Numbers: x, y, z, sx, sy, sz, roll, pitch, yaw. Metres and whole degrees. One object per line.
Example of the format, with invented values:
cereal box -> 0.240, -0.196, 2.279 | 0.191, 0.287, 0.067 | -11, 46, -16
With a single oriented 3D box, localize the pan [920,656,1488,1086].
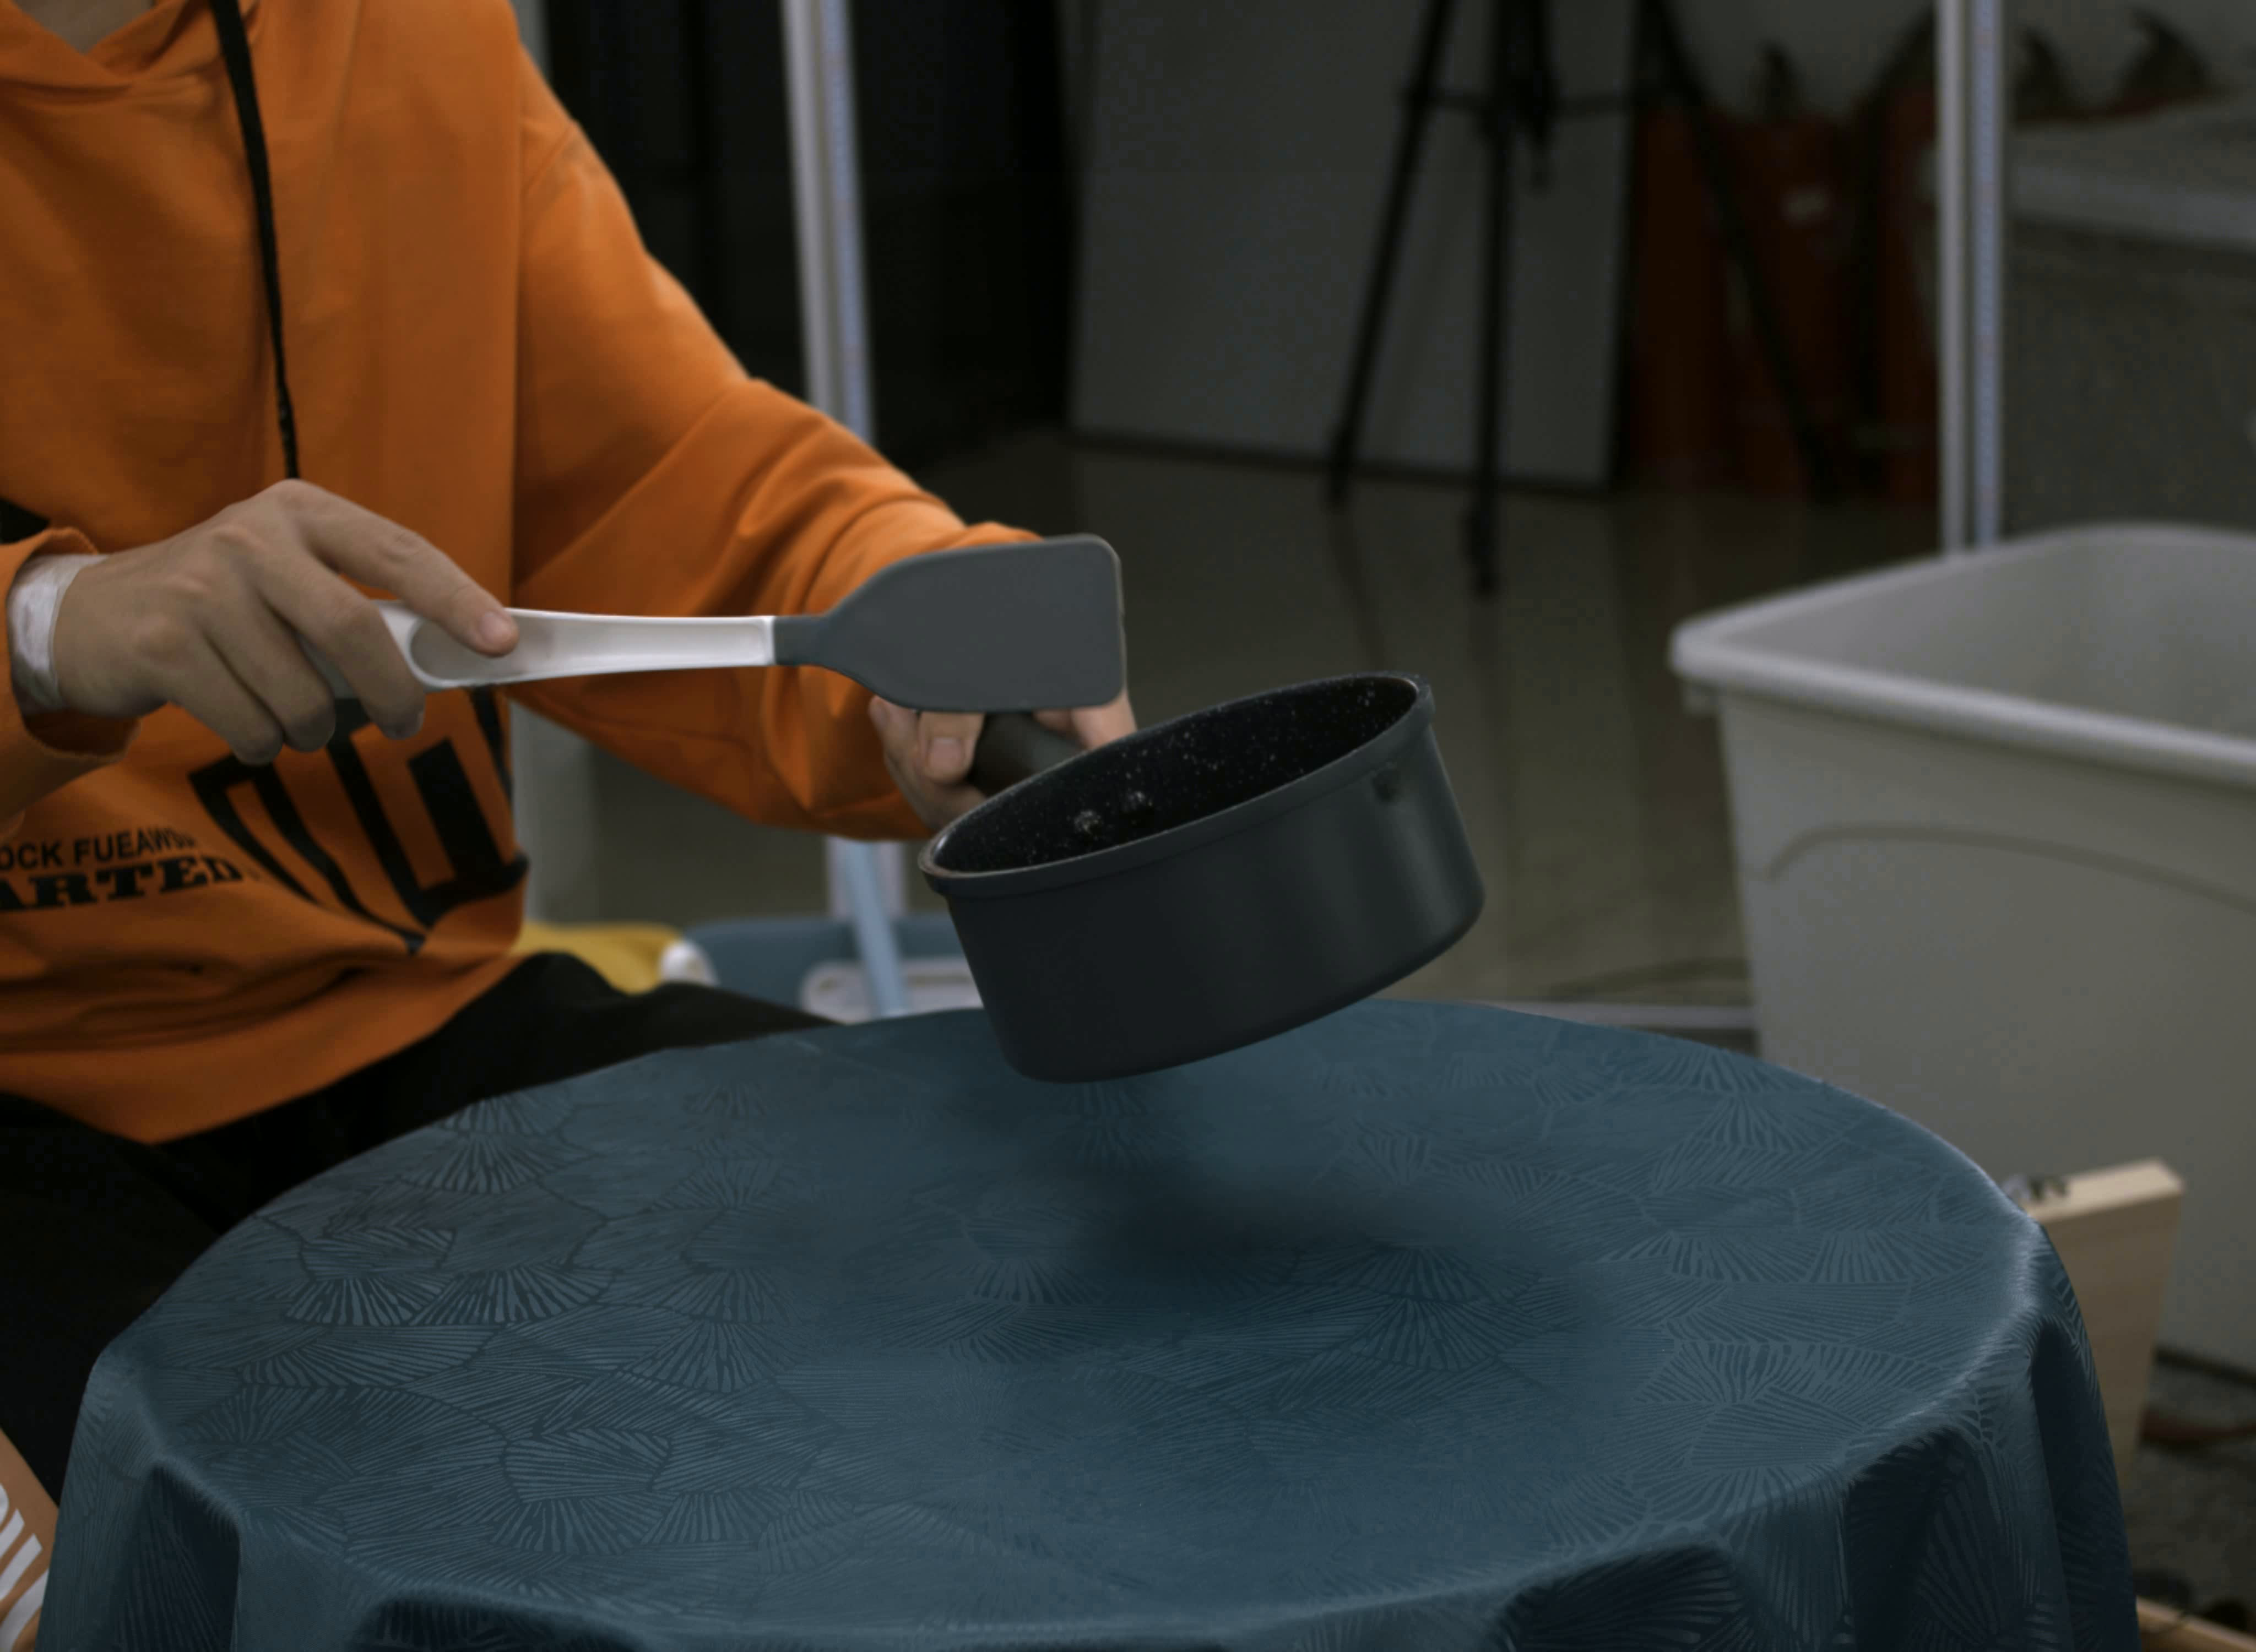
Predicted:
pan -> 0.002, 0.005, 1.769 | 0.169, 0.087, 0.331 | -22, 12, -13

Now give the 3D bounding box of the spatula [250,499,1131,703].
spatula -> -0.136, -0.062, 1.654 | 0.287, 0.059, 0.032 | -3, 0, 21
